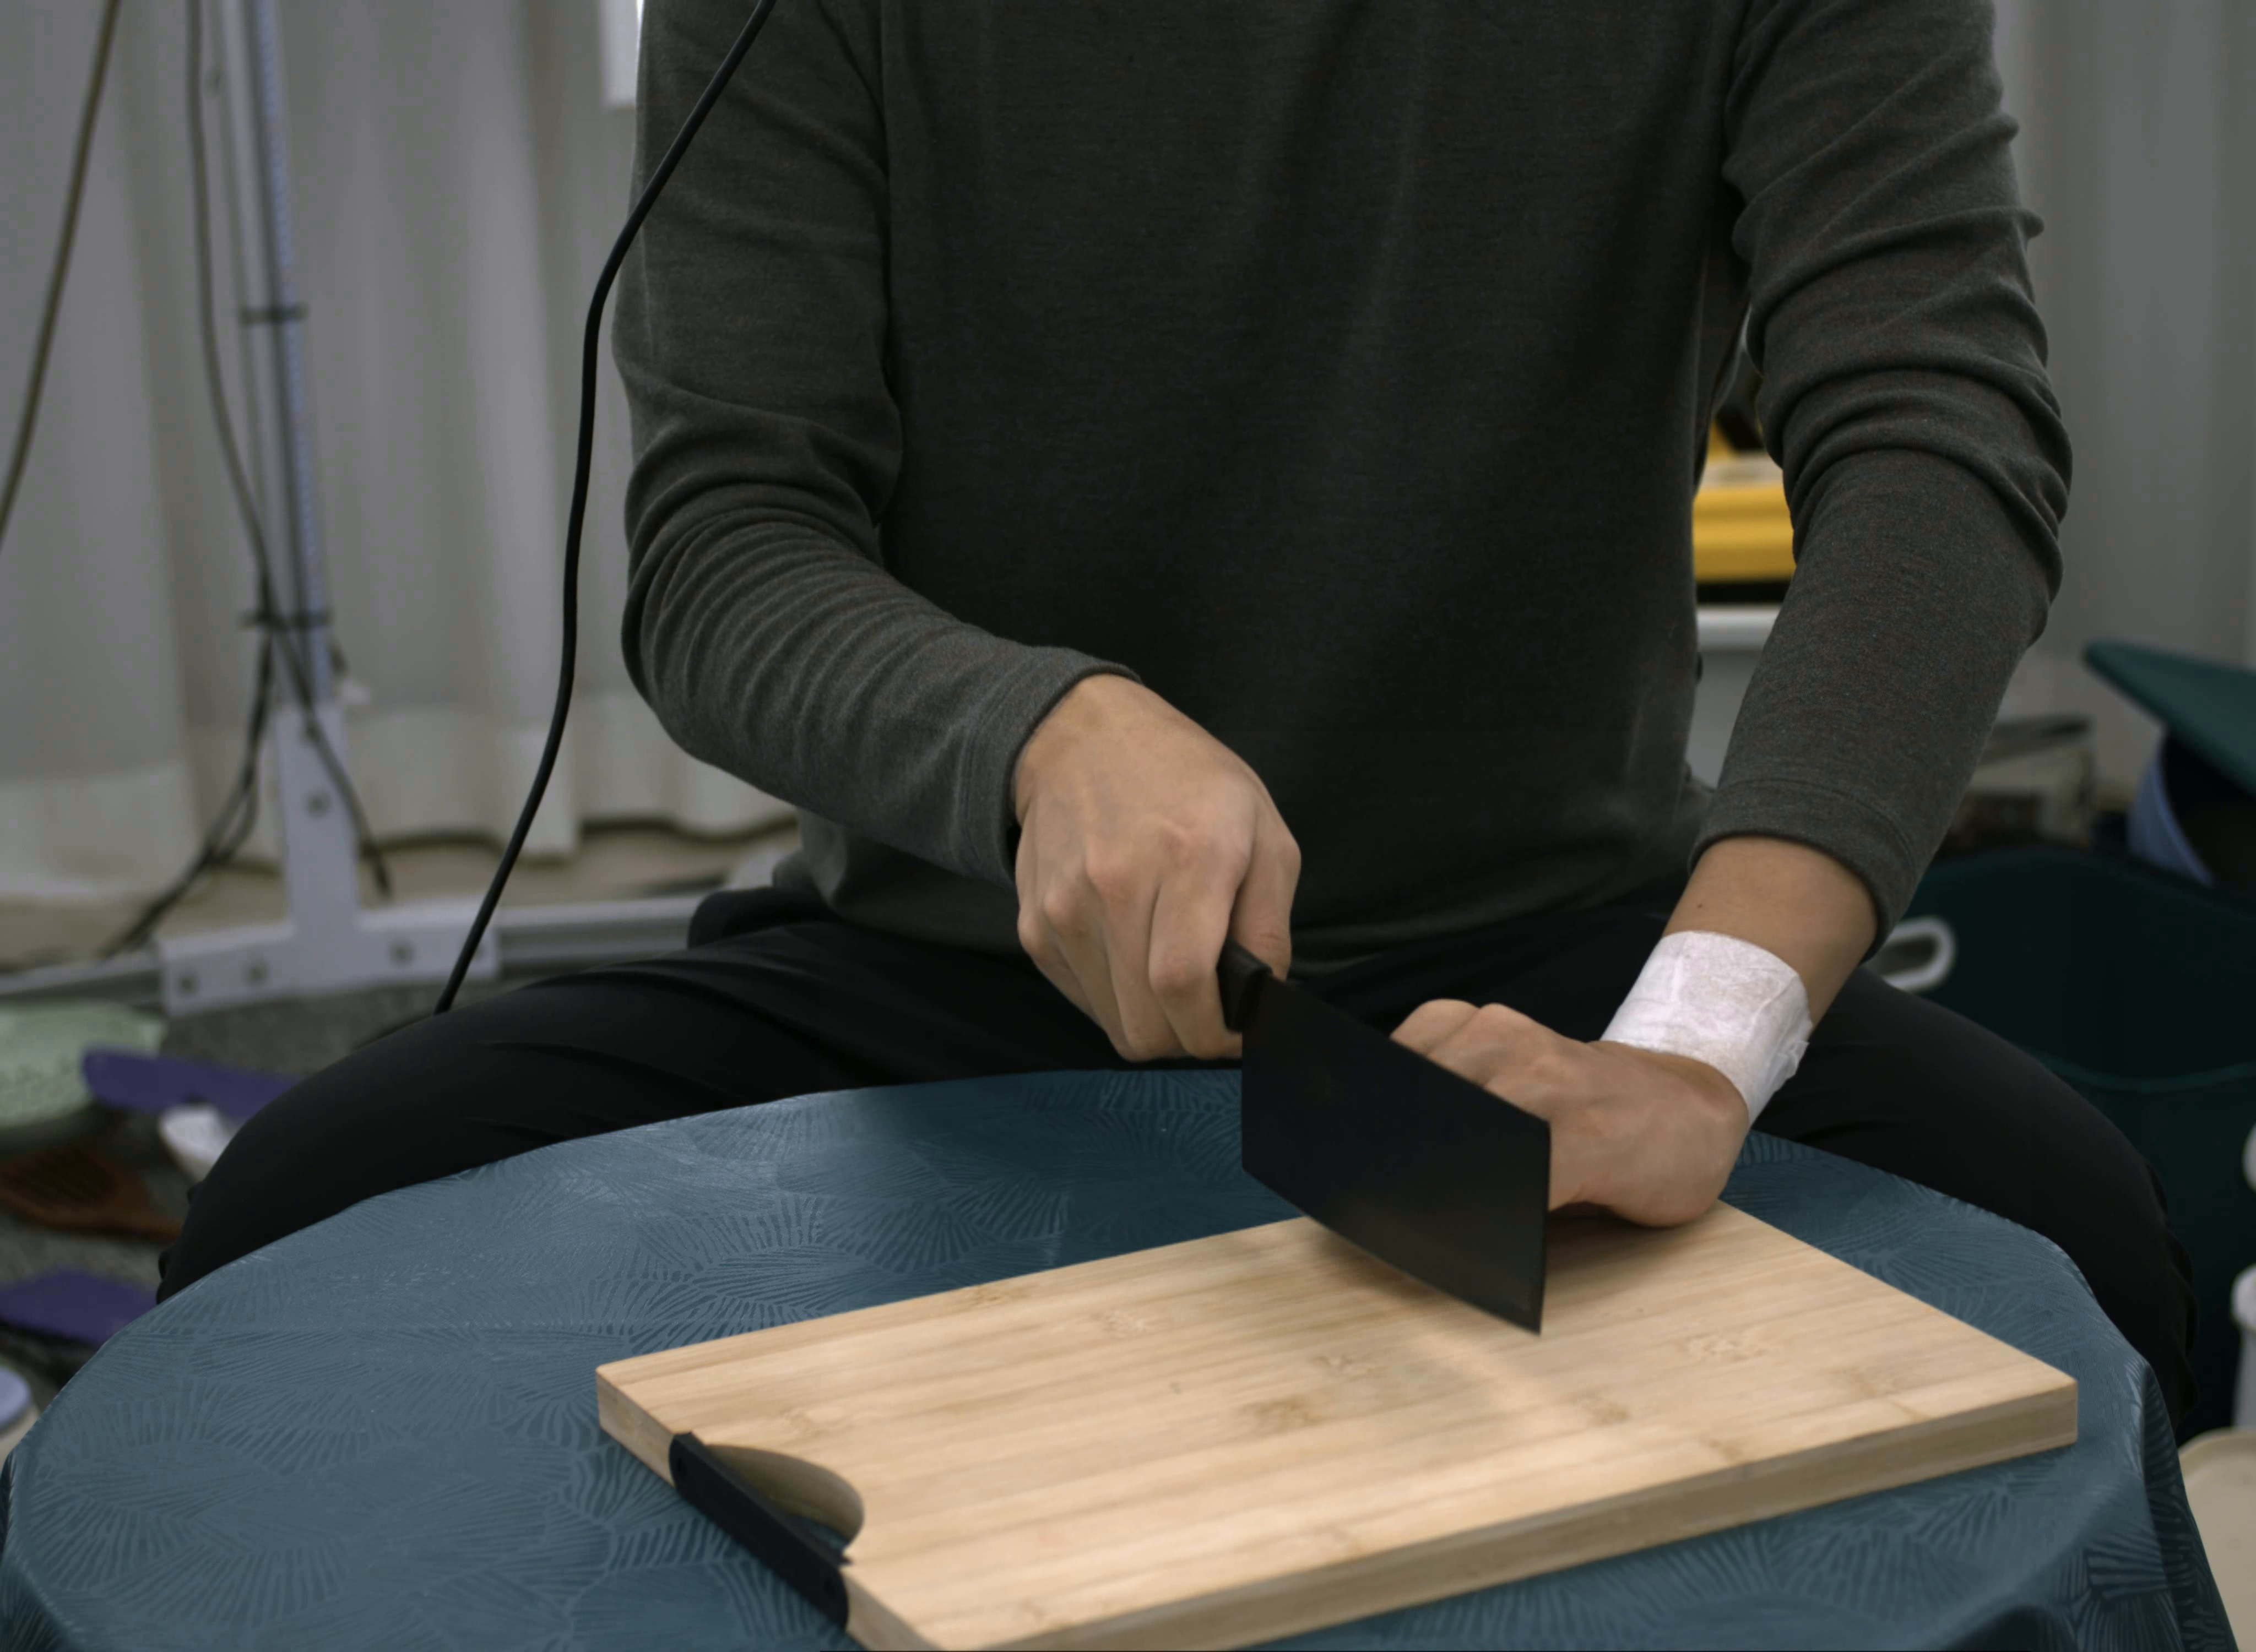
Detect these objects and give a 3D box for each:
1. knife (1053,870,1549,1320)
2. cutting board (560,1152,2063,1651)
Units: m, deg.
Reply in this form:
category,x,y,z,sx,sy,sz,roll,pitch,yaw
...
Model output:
category,x,y,z,sx,sy,sz,roll,pitch,yaw
knife,0.047,0.071,1.591,0.021,0.080,0.305,-3,18,-25
cutting board,0.049,0.161,1.504,0.347,0.023,0.252,-10,16,-26
